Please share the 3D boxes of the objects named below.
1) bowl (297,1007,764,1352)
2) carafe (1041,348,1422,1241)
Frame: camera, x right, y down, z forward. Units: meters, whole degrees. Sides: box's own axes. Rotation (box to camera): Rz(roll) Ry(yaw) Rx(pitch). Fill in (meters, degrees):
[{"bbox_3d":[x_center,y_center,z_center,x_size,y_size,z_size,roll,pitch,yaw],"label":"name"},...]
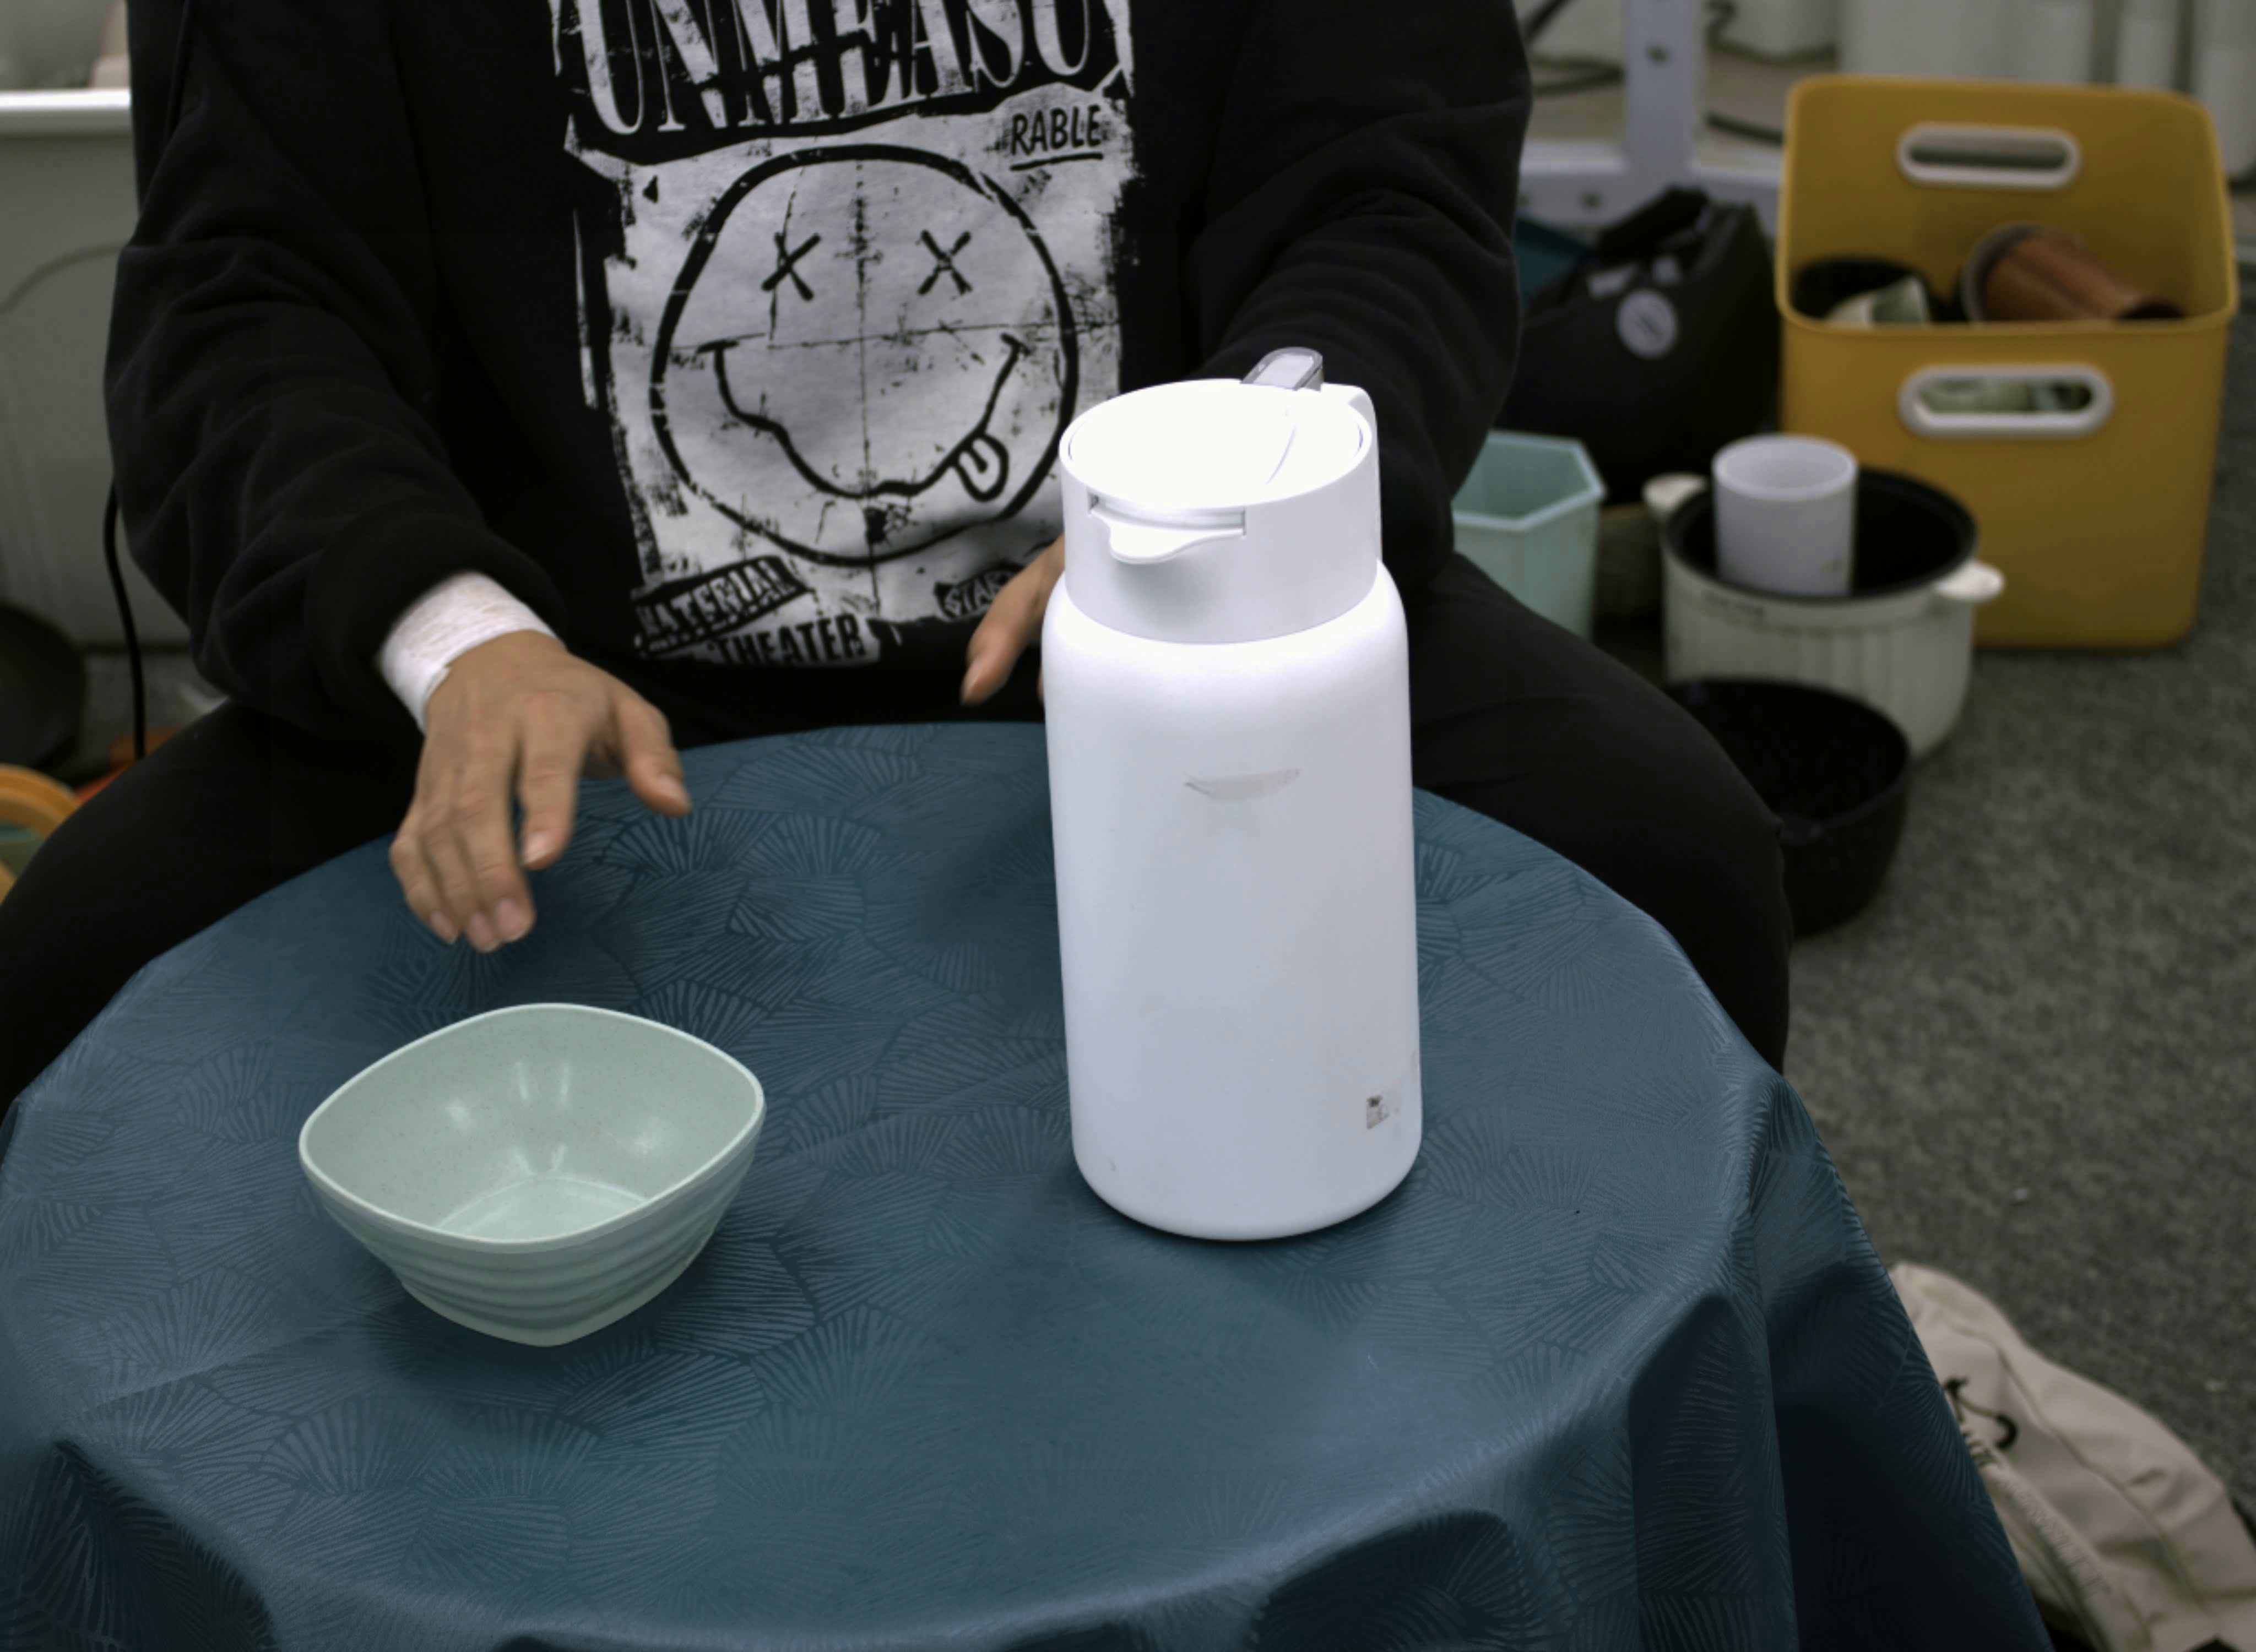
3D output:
[{"bbox_3d":[-0.191,0.121,1.822,0.151,0.058,0.154,-2,27,1],"label":"bowl"},{"bbox_3d":[0.039,-0.014,1.831,0.123,0.266,0.176,5,28,21],"label":"carafe"}]
